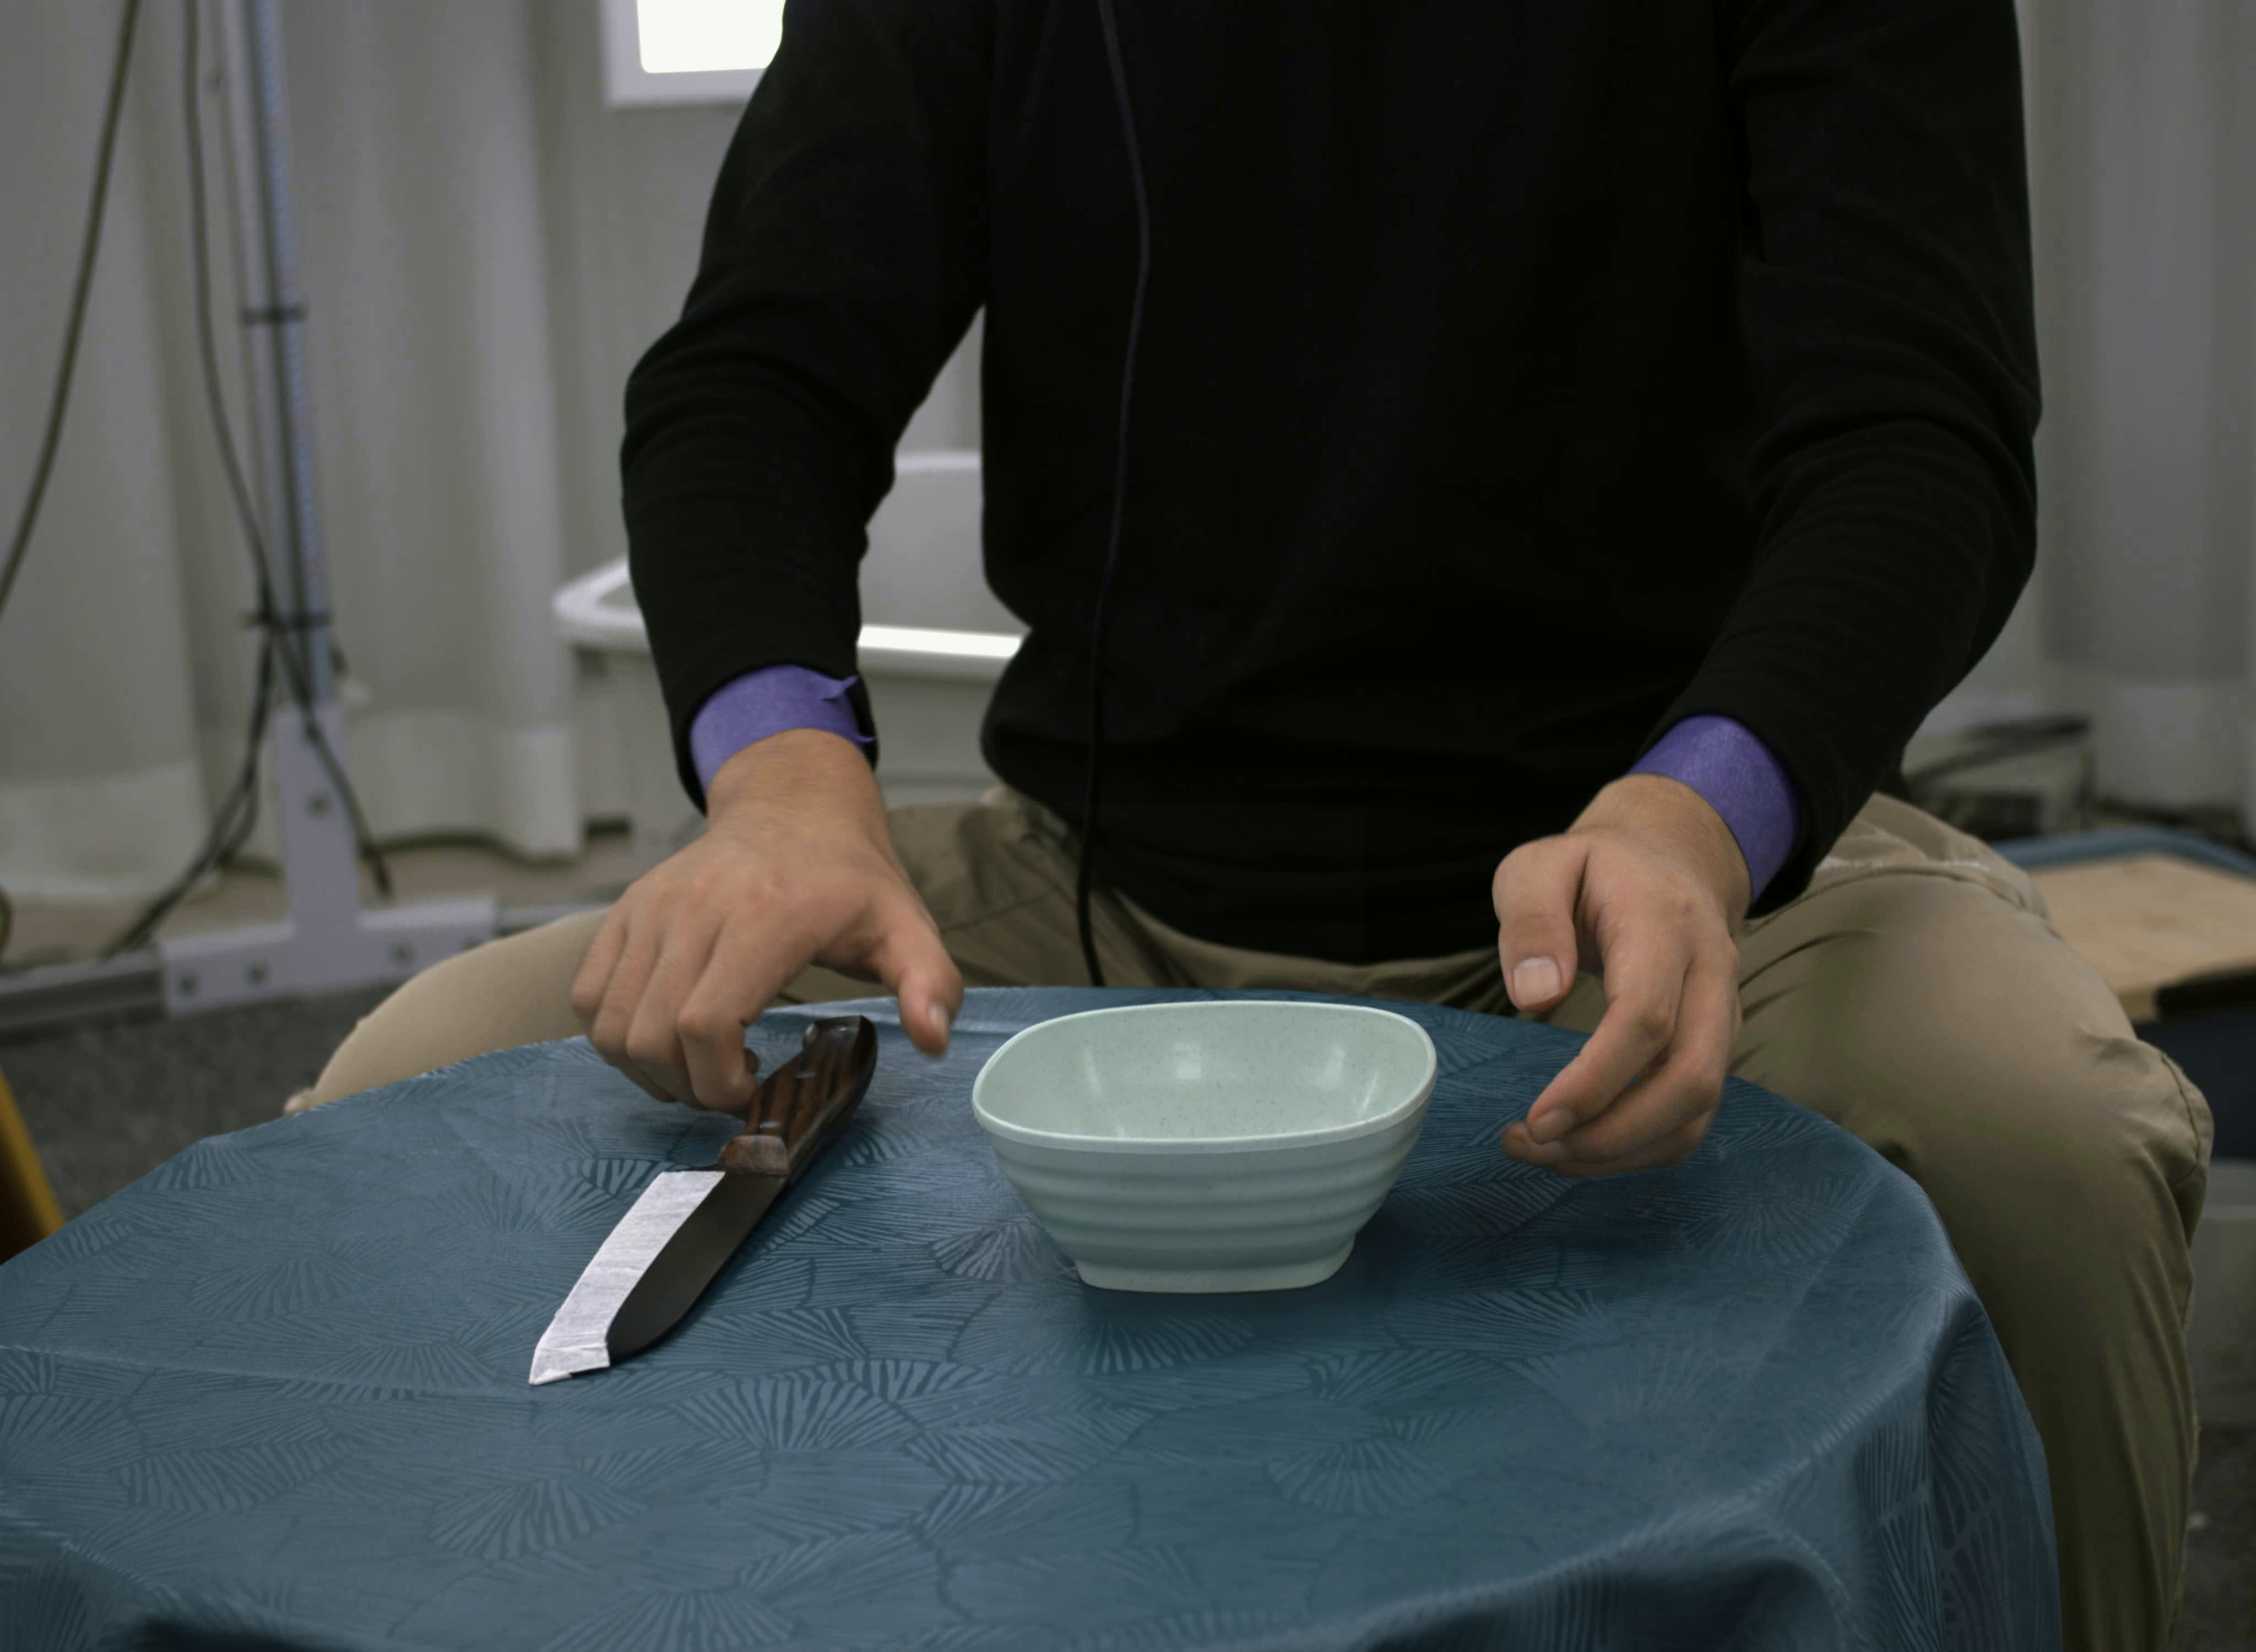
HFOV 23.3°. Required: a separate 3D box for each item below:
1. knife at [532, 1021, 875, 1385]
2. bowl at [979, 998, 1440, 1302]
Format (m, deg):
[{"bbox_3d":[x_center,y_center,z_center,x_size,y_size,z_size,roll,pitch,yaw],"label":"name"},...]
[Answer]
[{"bbox_3d":[-0.129,0.117,1.703,0.050,0.020,0.290,-3,17,16],"label":"knife"},{"bbox_3d":[0.026,0.101,1.653,0.151,0.058,0.152,-3,16,1],"label":"bowl"}]
